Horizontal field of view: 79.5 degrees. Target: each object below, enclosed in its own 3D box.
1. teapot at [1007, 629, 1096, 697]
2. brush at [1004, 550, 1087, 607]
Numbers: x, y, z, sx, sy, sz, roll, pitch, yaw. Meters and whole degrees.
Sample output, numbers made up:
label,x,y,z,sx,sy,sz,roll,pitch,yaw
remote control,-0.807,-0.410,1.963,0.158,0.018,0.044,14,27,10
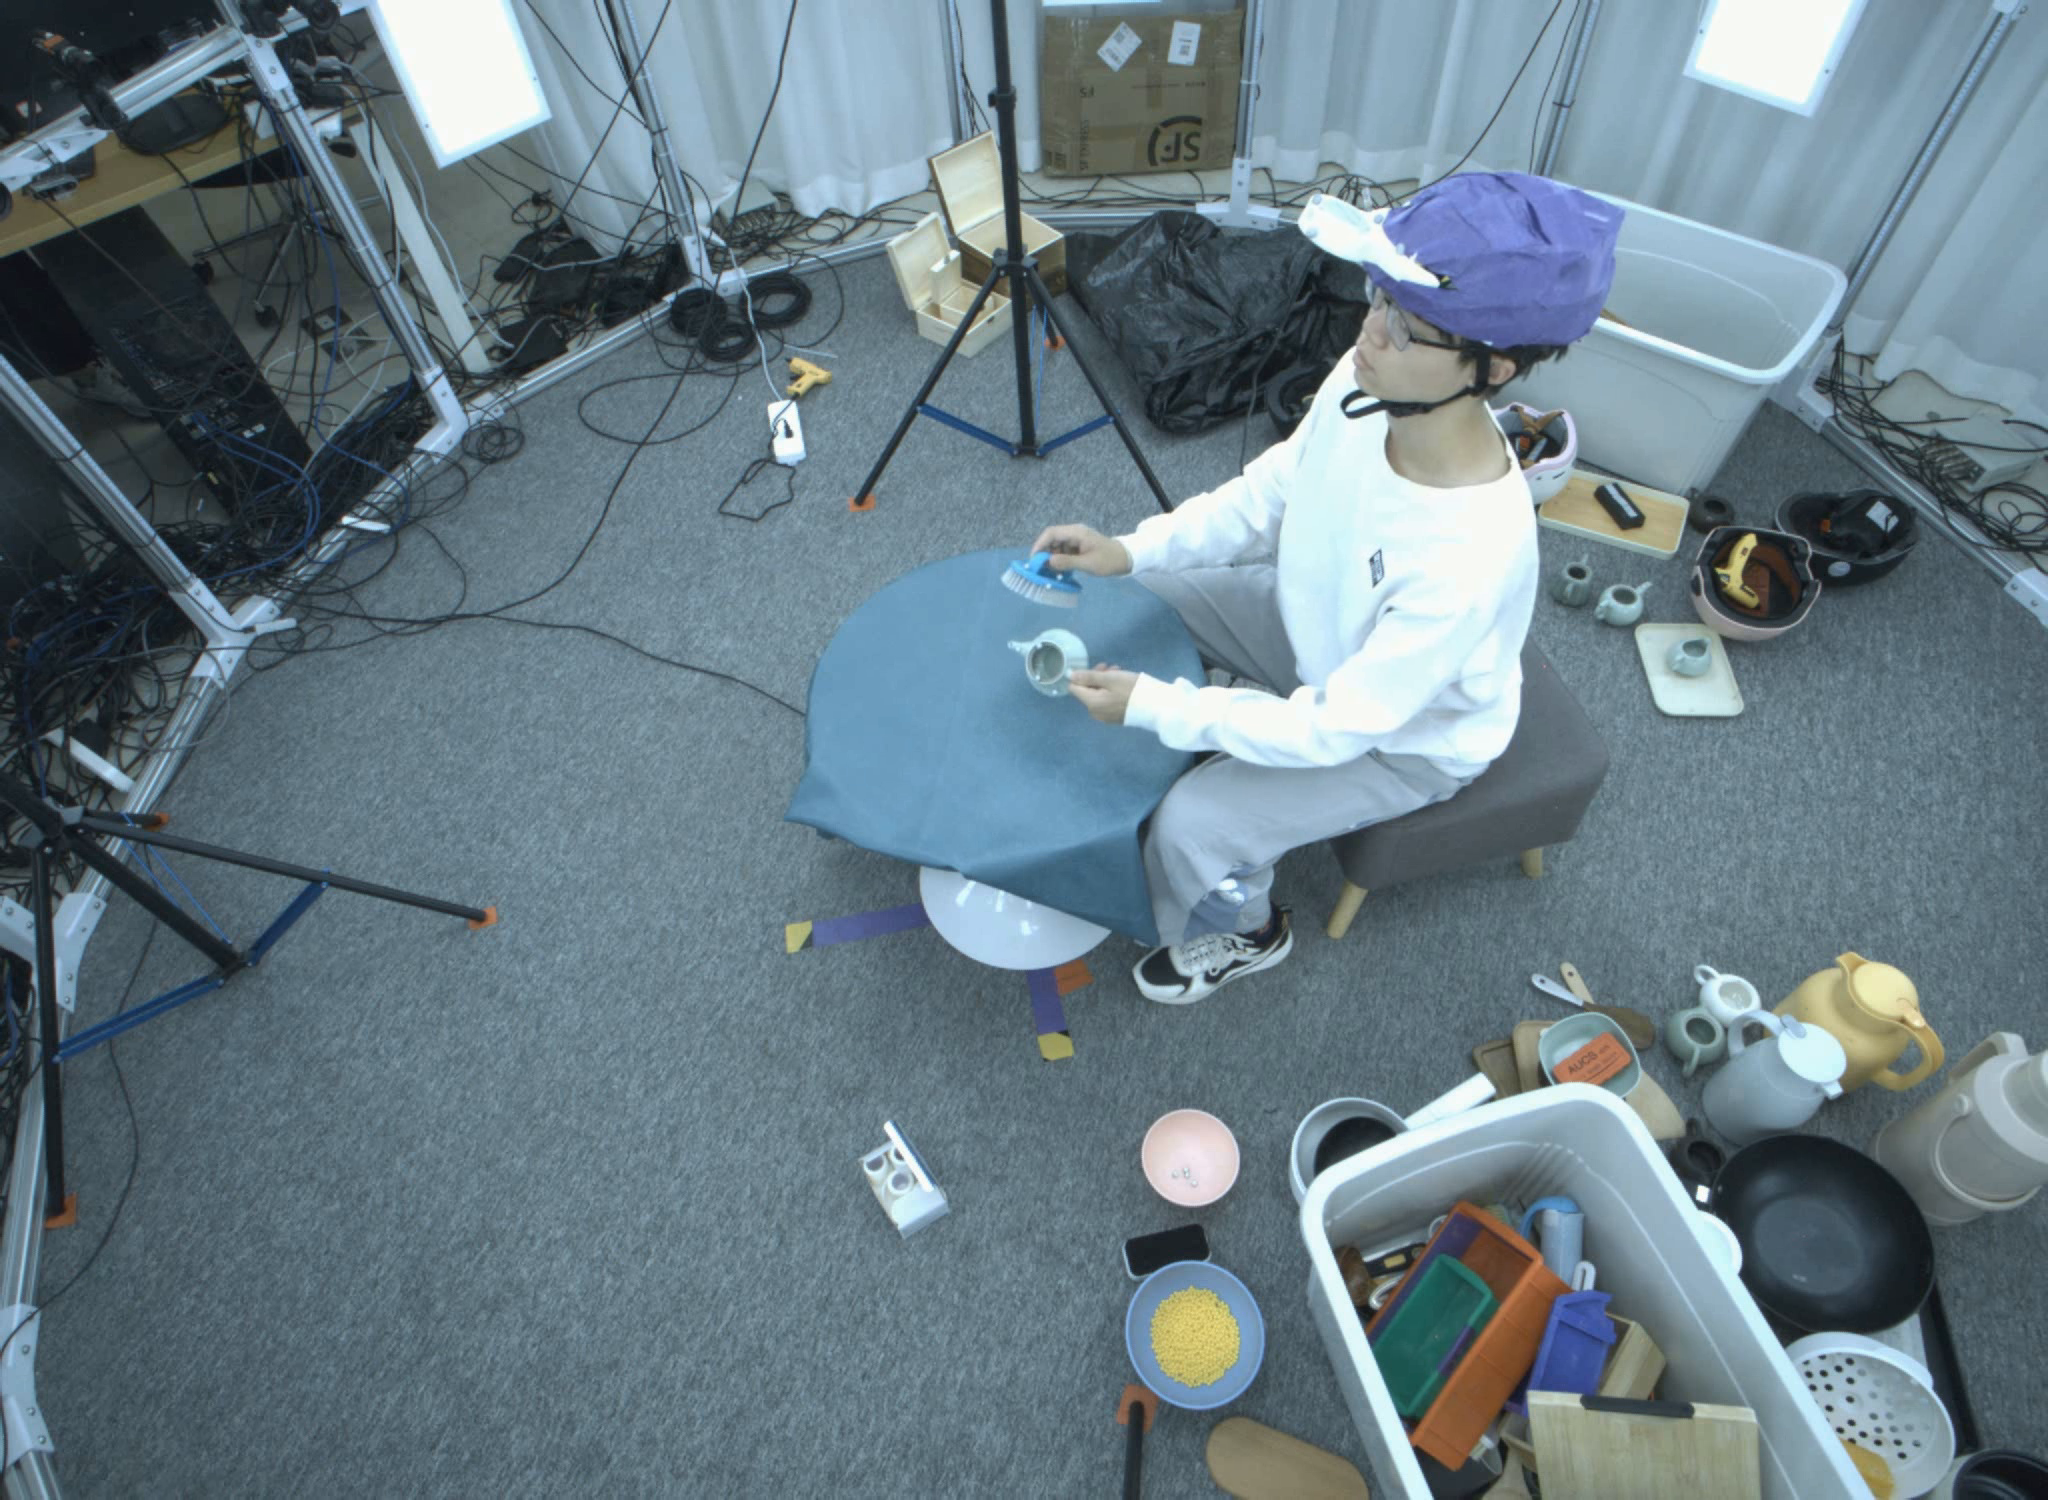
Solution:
label,x,y,z,sx,sy,sz,roll,pitch,yaw
teapot,0.045,-0.122,1.733,0.135,0.062,0.096,27,101,21
brush,0.035,-0.255,1.778,0.082,0.064,0.145,33,17,34
